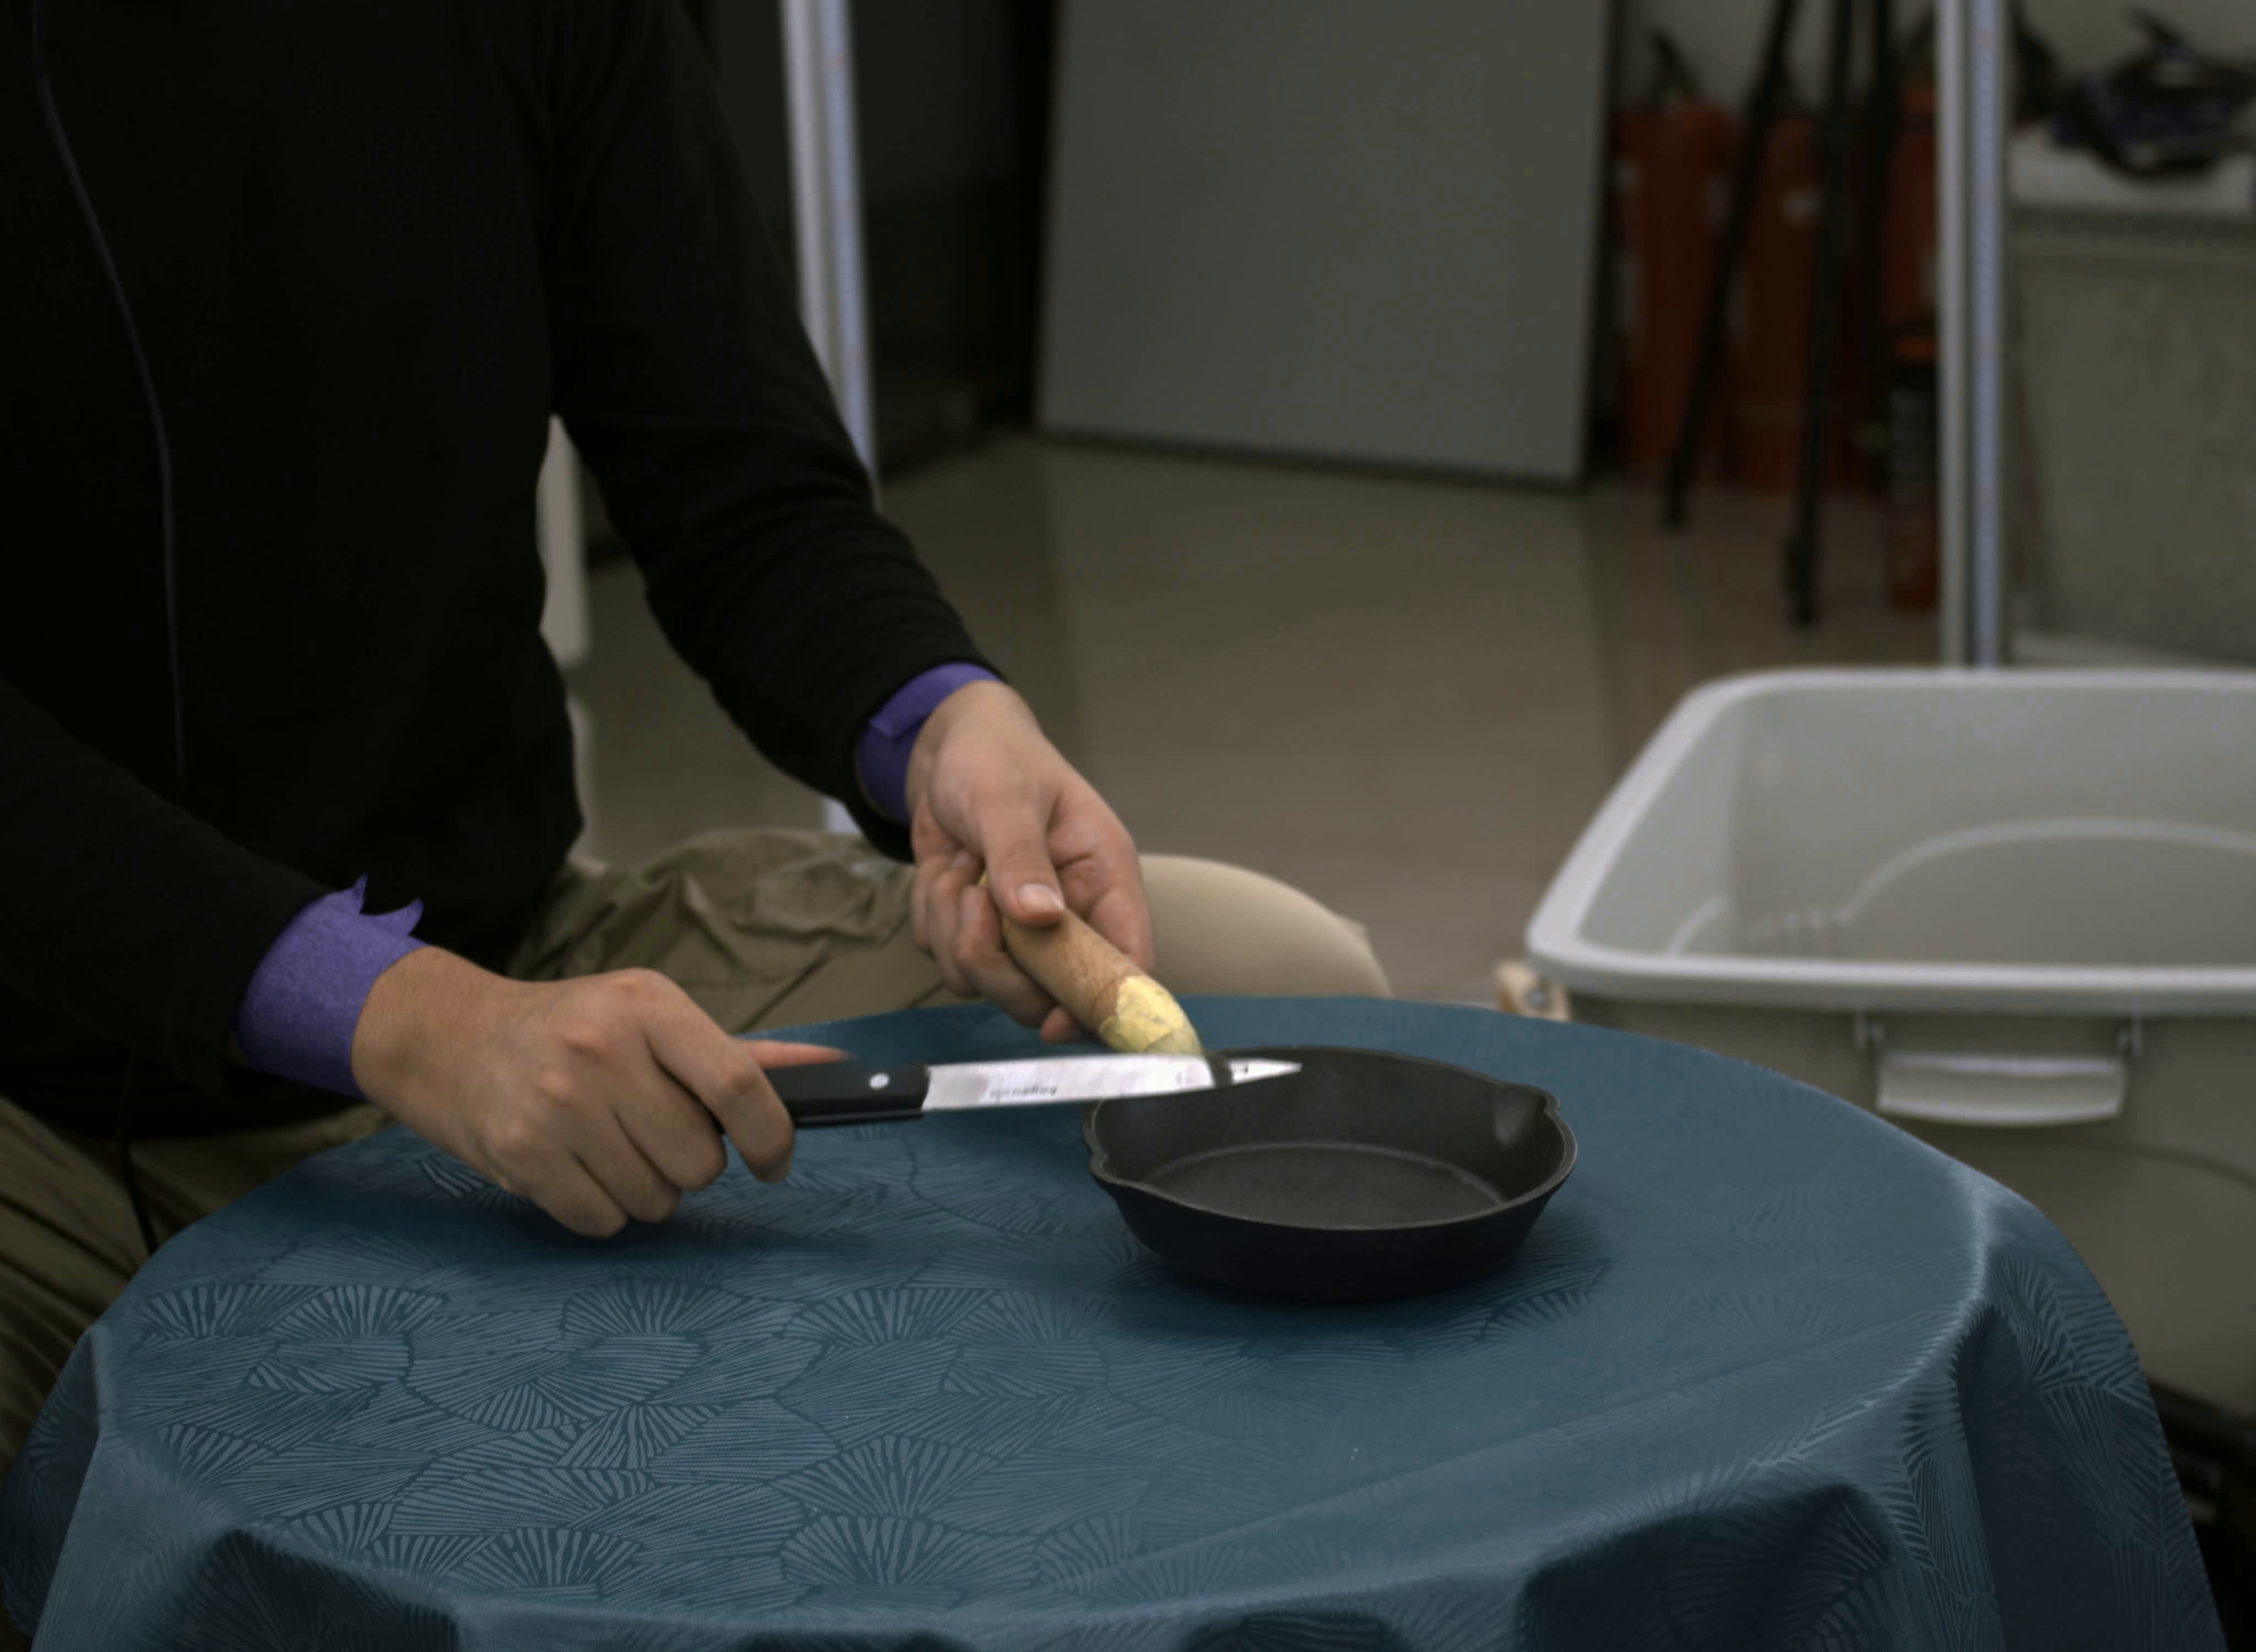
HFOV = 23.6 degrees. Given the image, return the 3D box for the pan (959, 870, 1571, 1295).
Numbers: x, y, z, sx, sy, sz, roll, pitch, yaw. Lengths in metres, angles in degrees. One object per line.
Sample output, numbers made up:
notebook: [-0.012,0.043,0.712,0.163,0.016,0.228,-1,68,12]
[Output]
pan: [0.023,0.081,1.769,0.165,0.050,0.328,-8,19,-26]

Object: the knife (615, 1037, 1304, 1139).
knife: [-0.057,0.083,1.732,0.237,0.016,0.024,-6,37,19]
